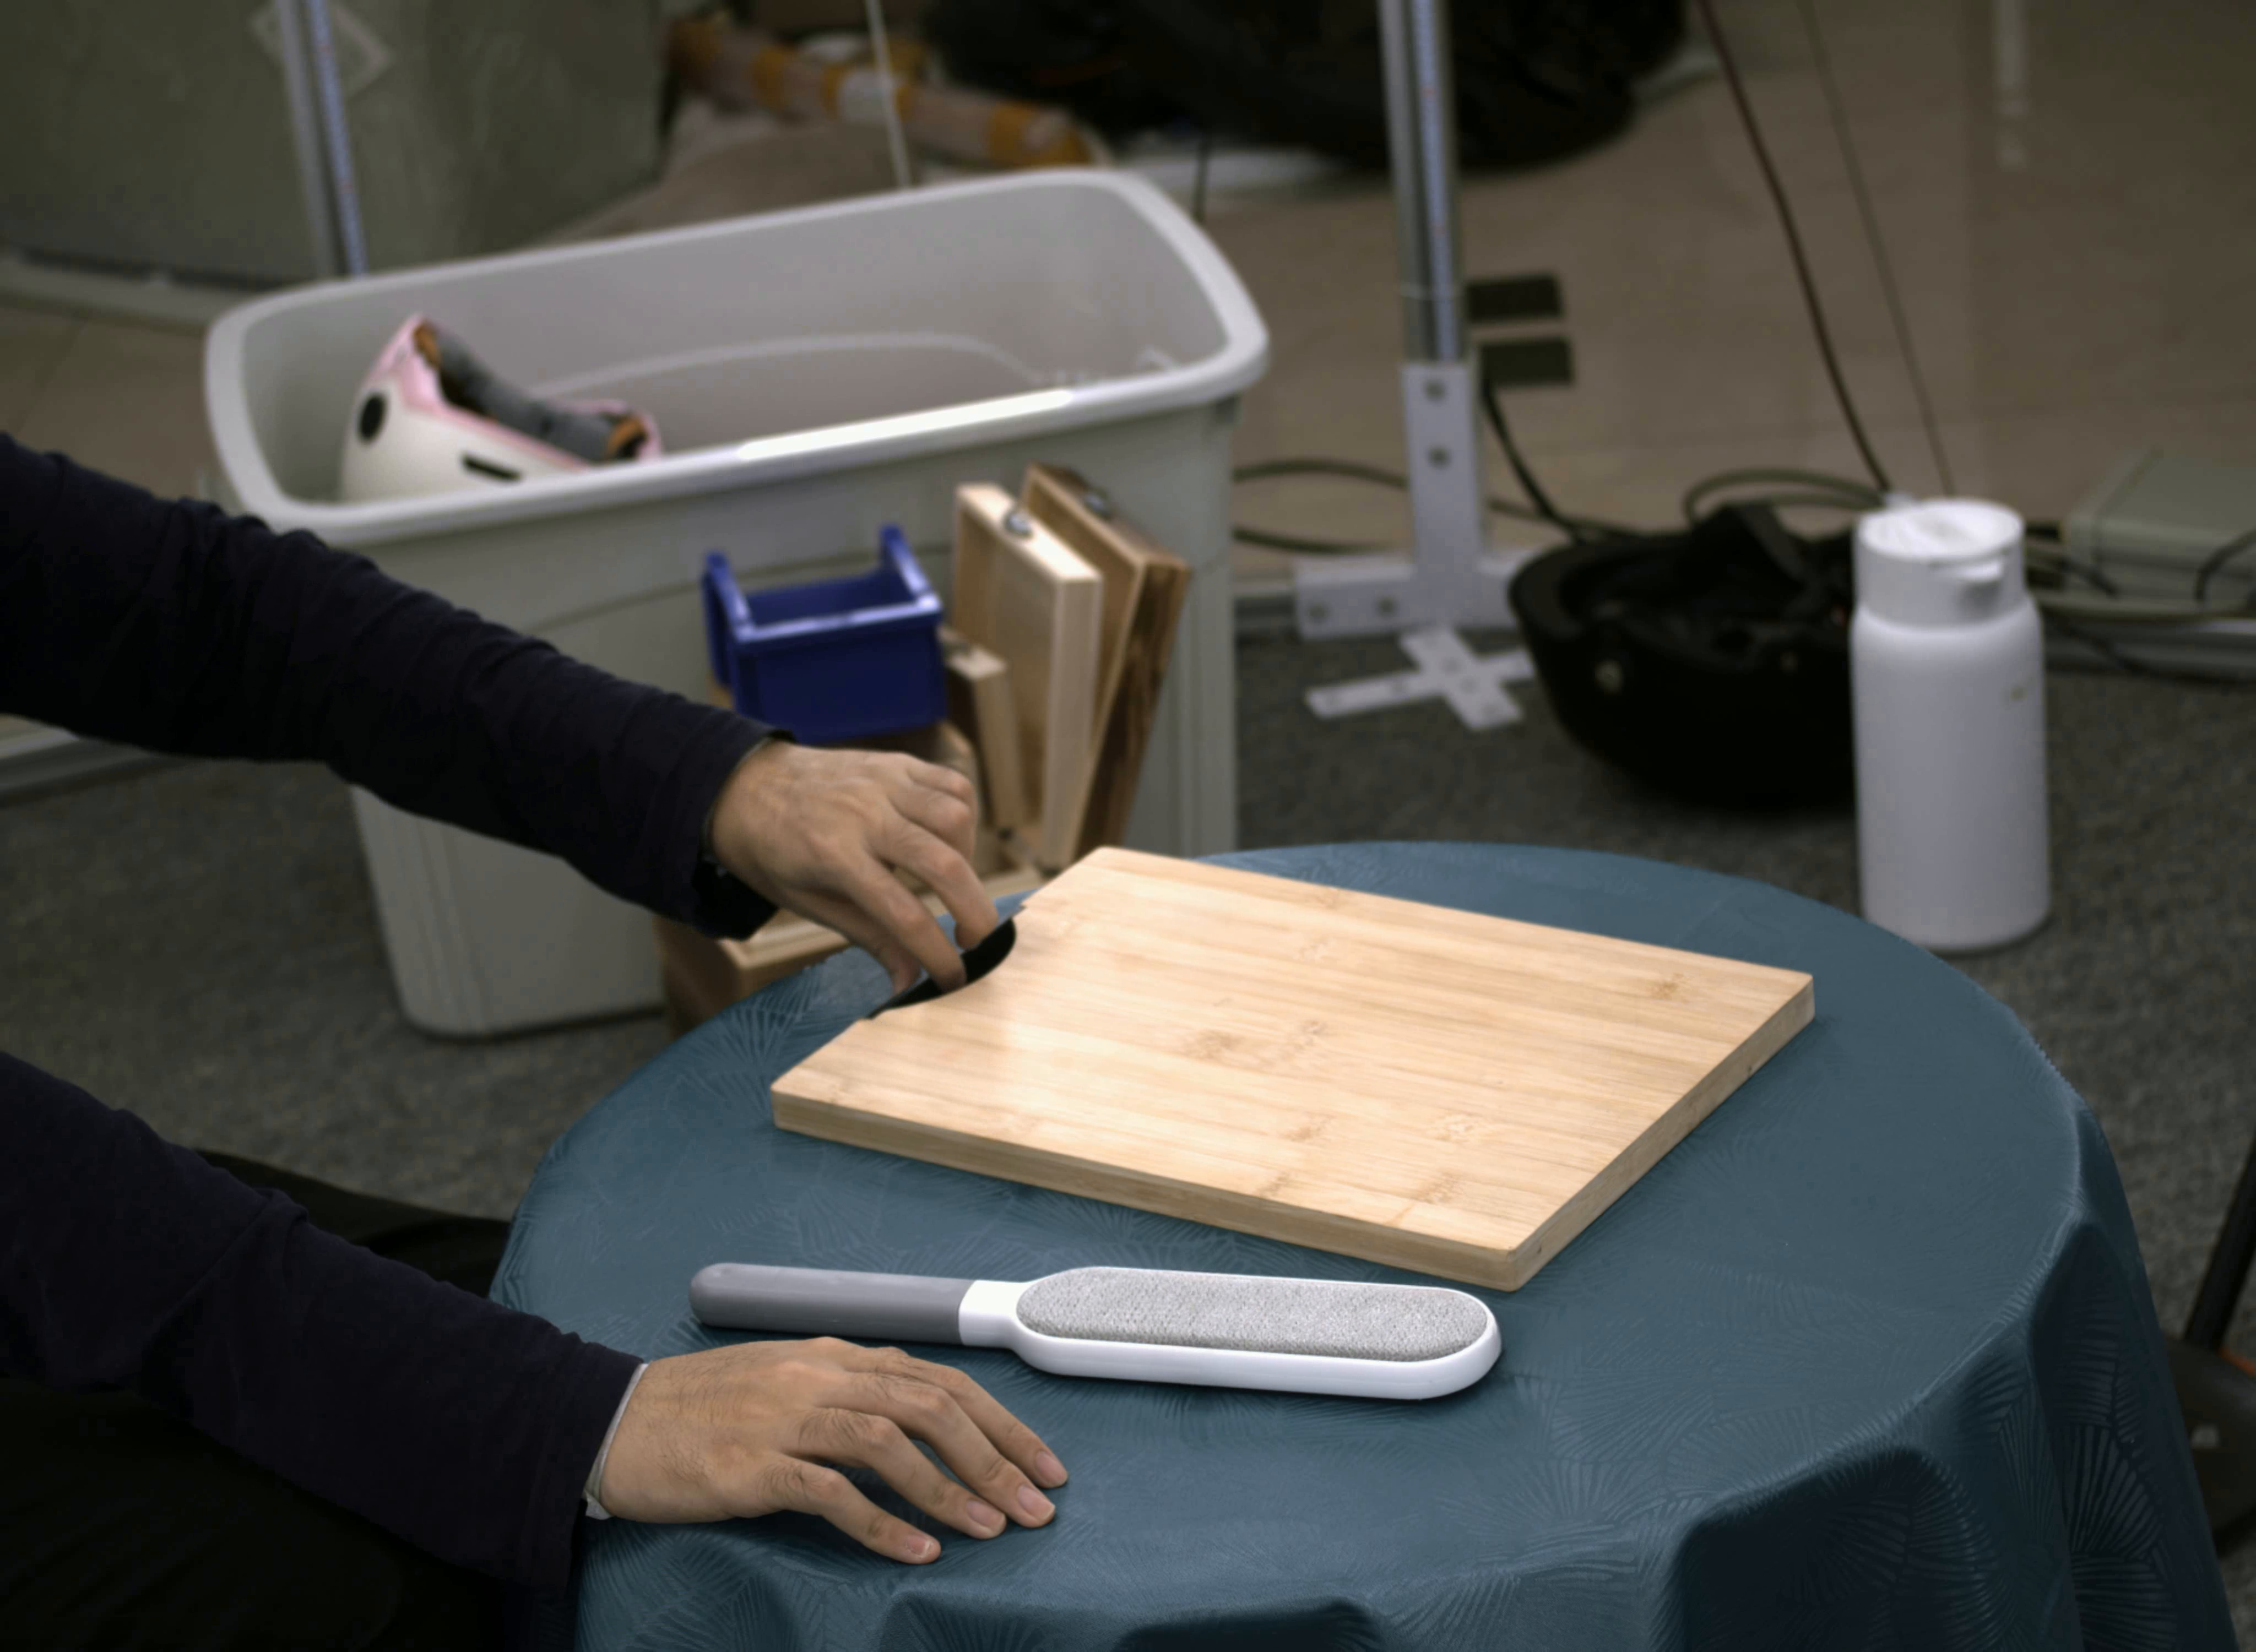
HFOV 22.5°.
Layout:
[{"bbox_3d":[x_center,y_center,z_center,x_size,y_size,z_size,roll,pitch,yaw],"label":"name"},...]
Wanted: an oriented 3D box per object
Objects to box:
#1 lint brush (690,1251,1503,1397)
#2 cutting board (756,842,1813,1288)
[{"bbox_3d":[-0.016,0.175,2.046,0.308,0.021,0.059,3,32,19],"label":"lint brush"},{"bbox_3d":[0.060,0.088,2.228,0.347,0.024,0.248,10,29,32],"label":"cutting board"}]
